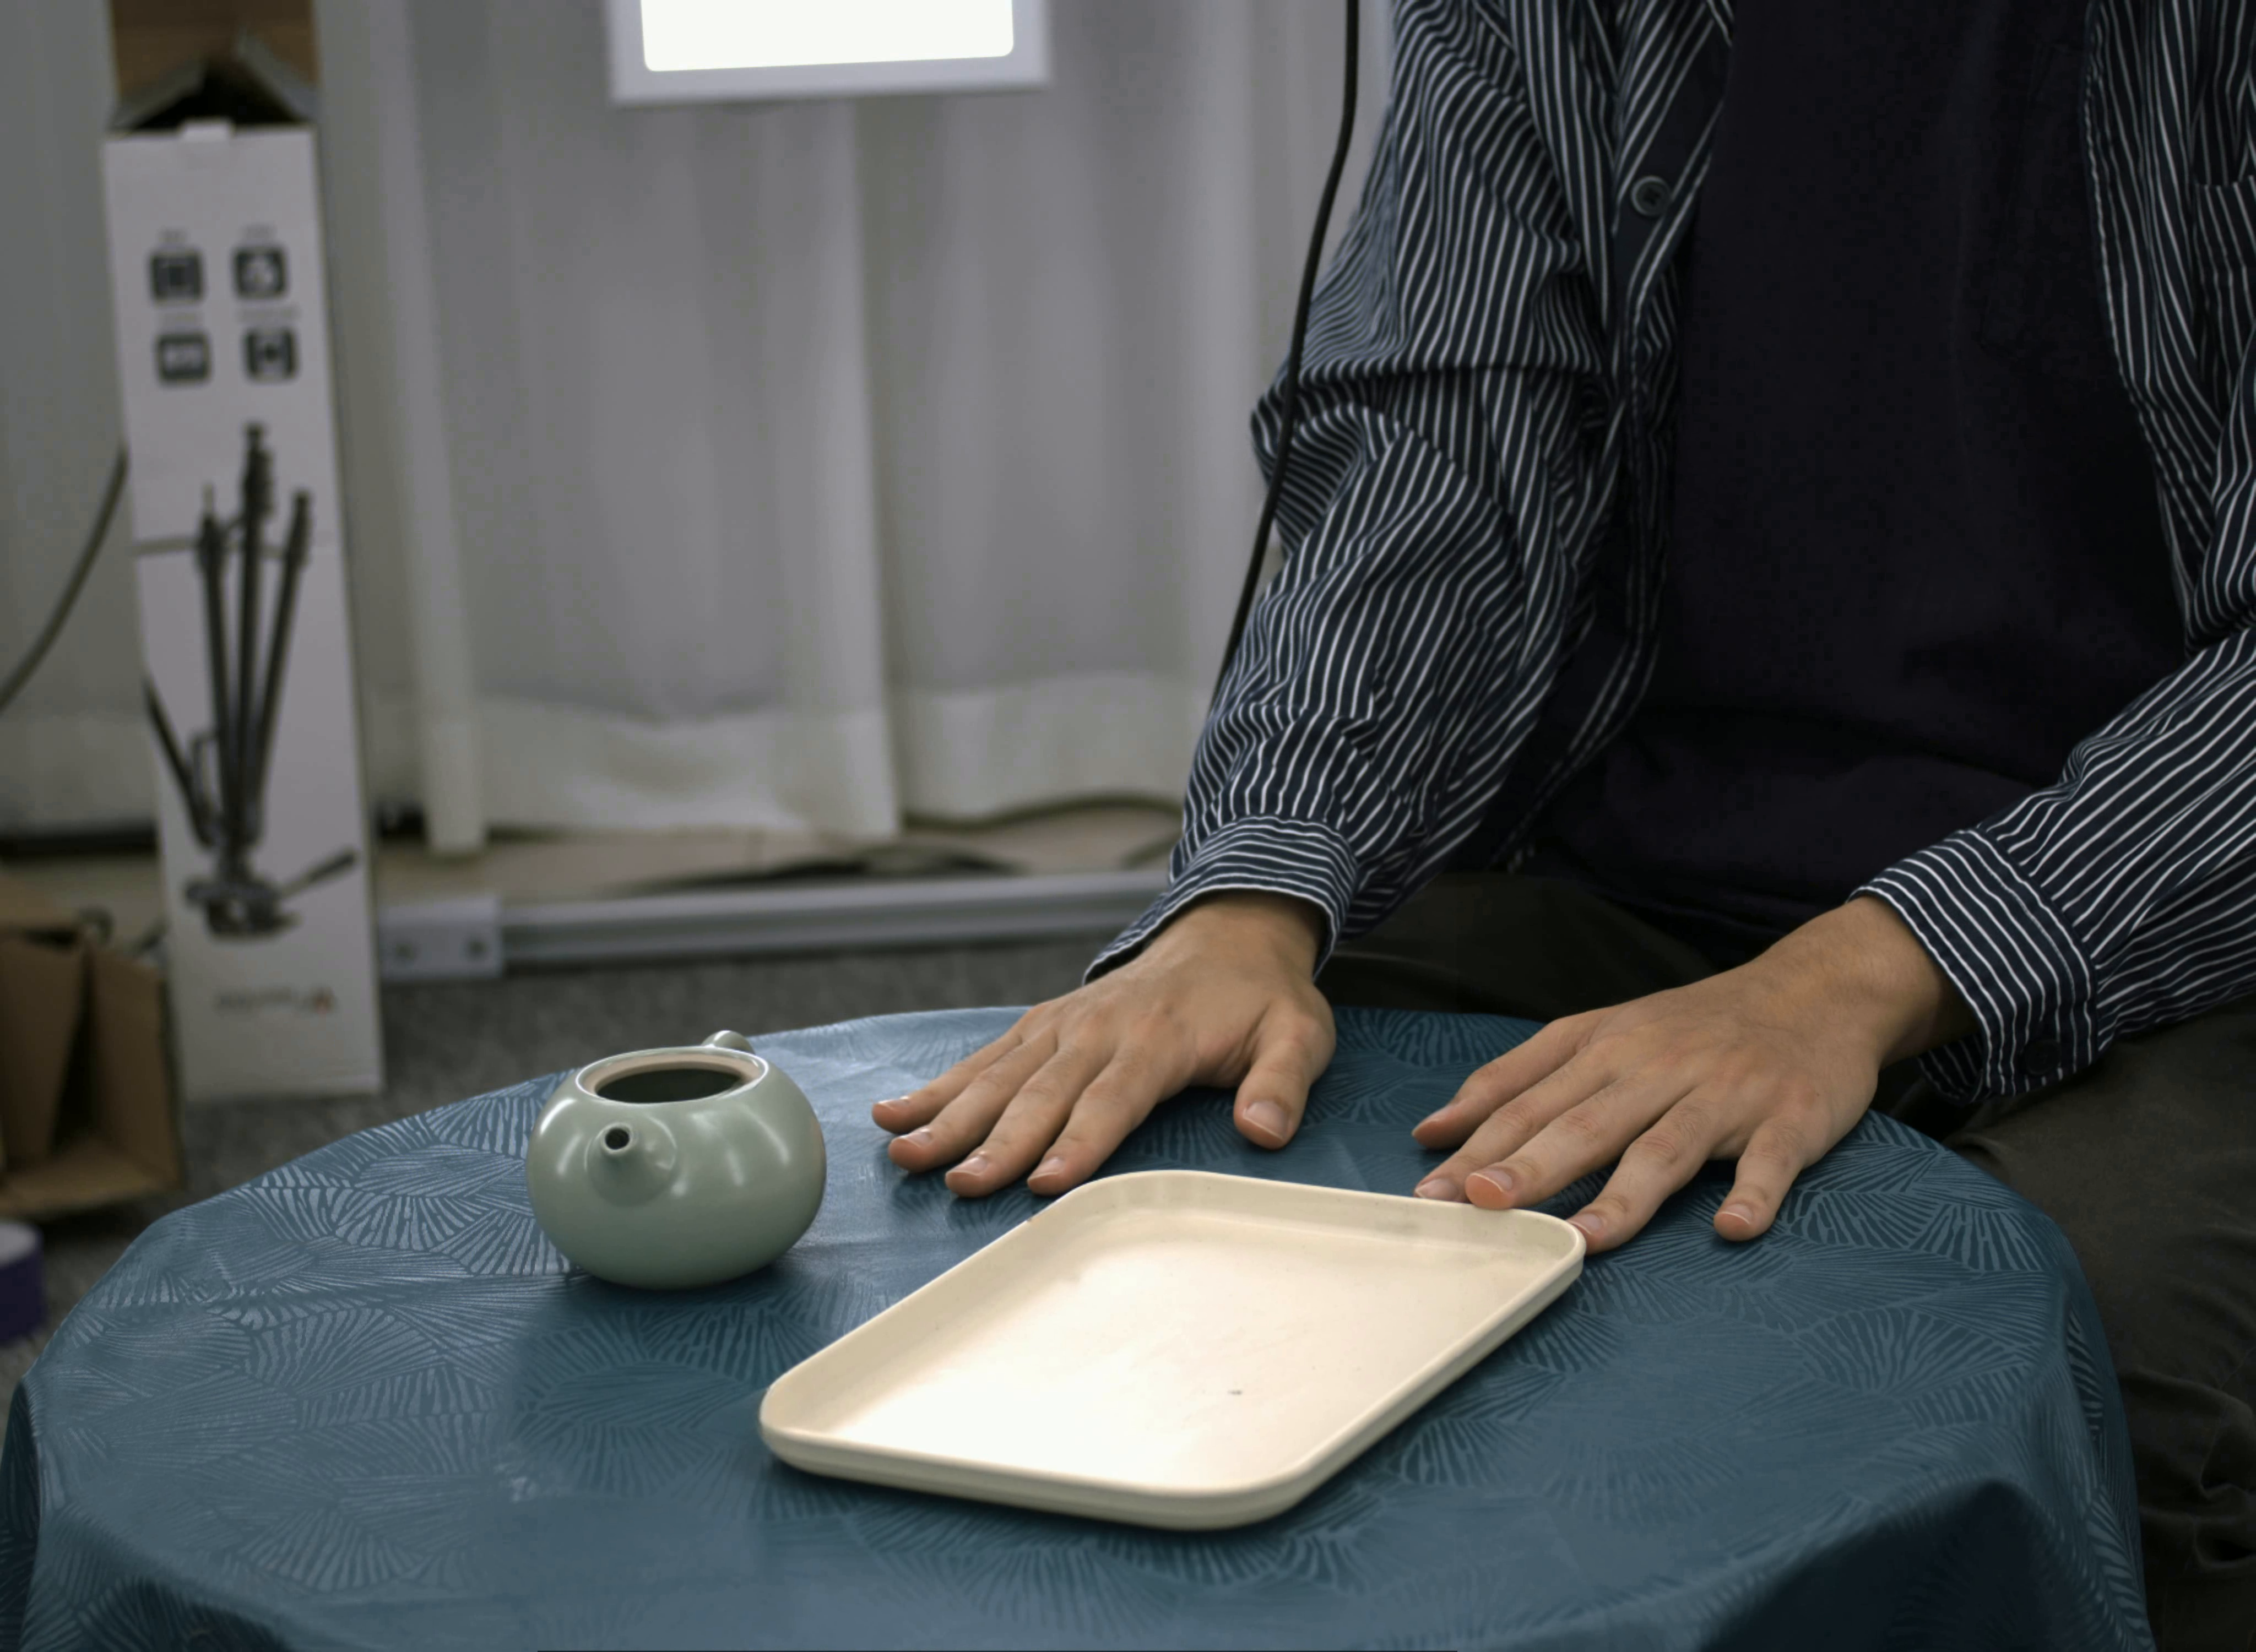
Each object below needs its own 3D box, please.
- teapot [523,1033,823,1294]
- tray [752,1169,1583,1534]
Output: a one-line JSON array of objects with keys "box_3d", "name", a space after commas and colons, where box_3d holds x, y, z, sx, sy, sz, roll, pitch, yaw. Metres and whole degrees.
[{"box_3d": [-0.135, 0.103, 1.675, 0.091, 0.061, 0.129, 0, 14, 19], "name": "teapot"}, {"box_3d": [0.015, 0.148, 1.555, 0.171, 0.017, 0.240, 6, 17, 28], "name": "tray"}]
